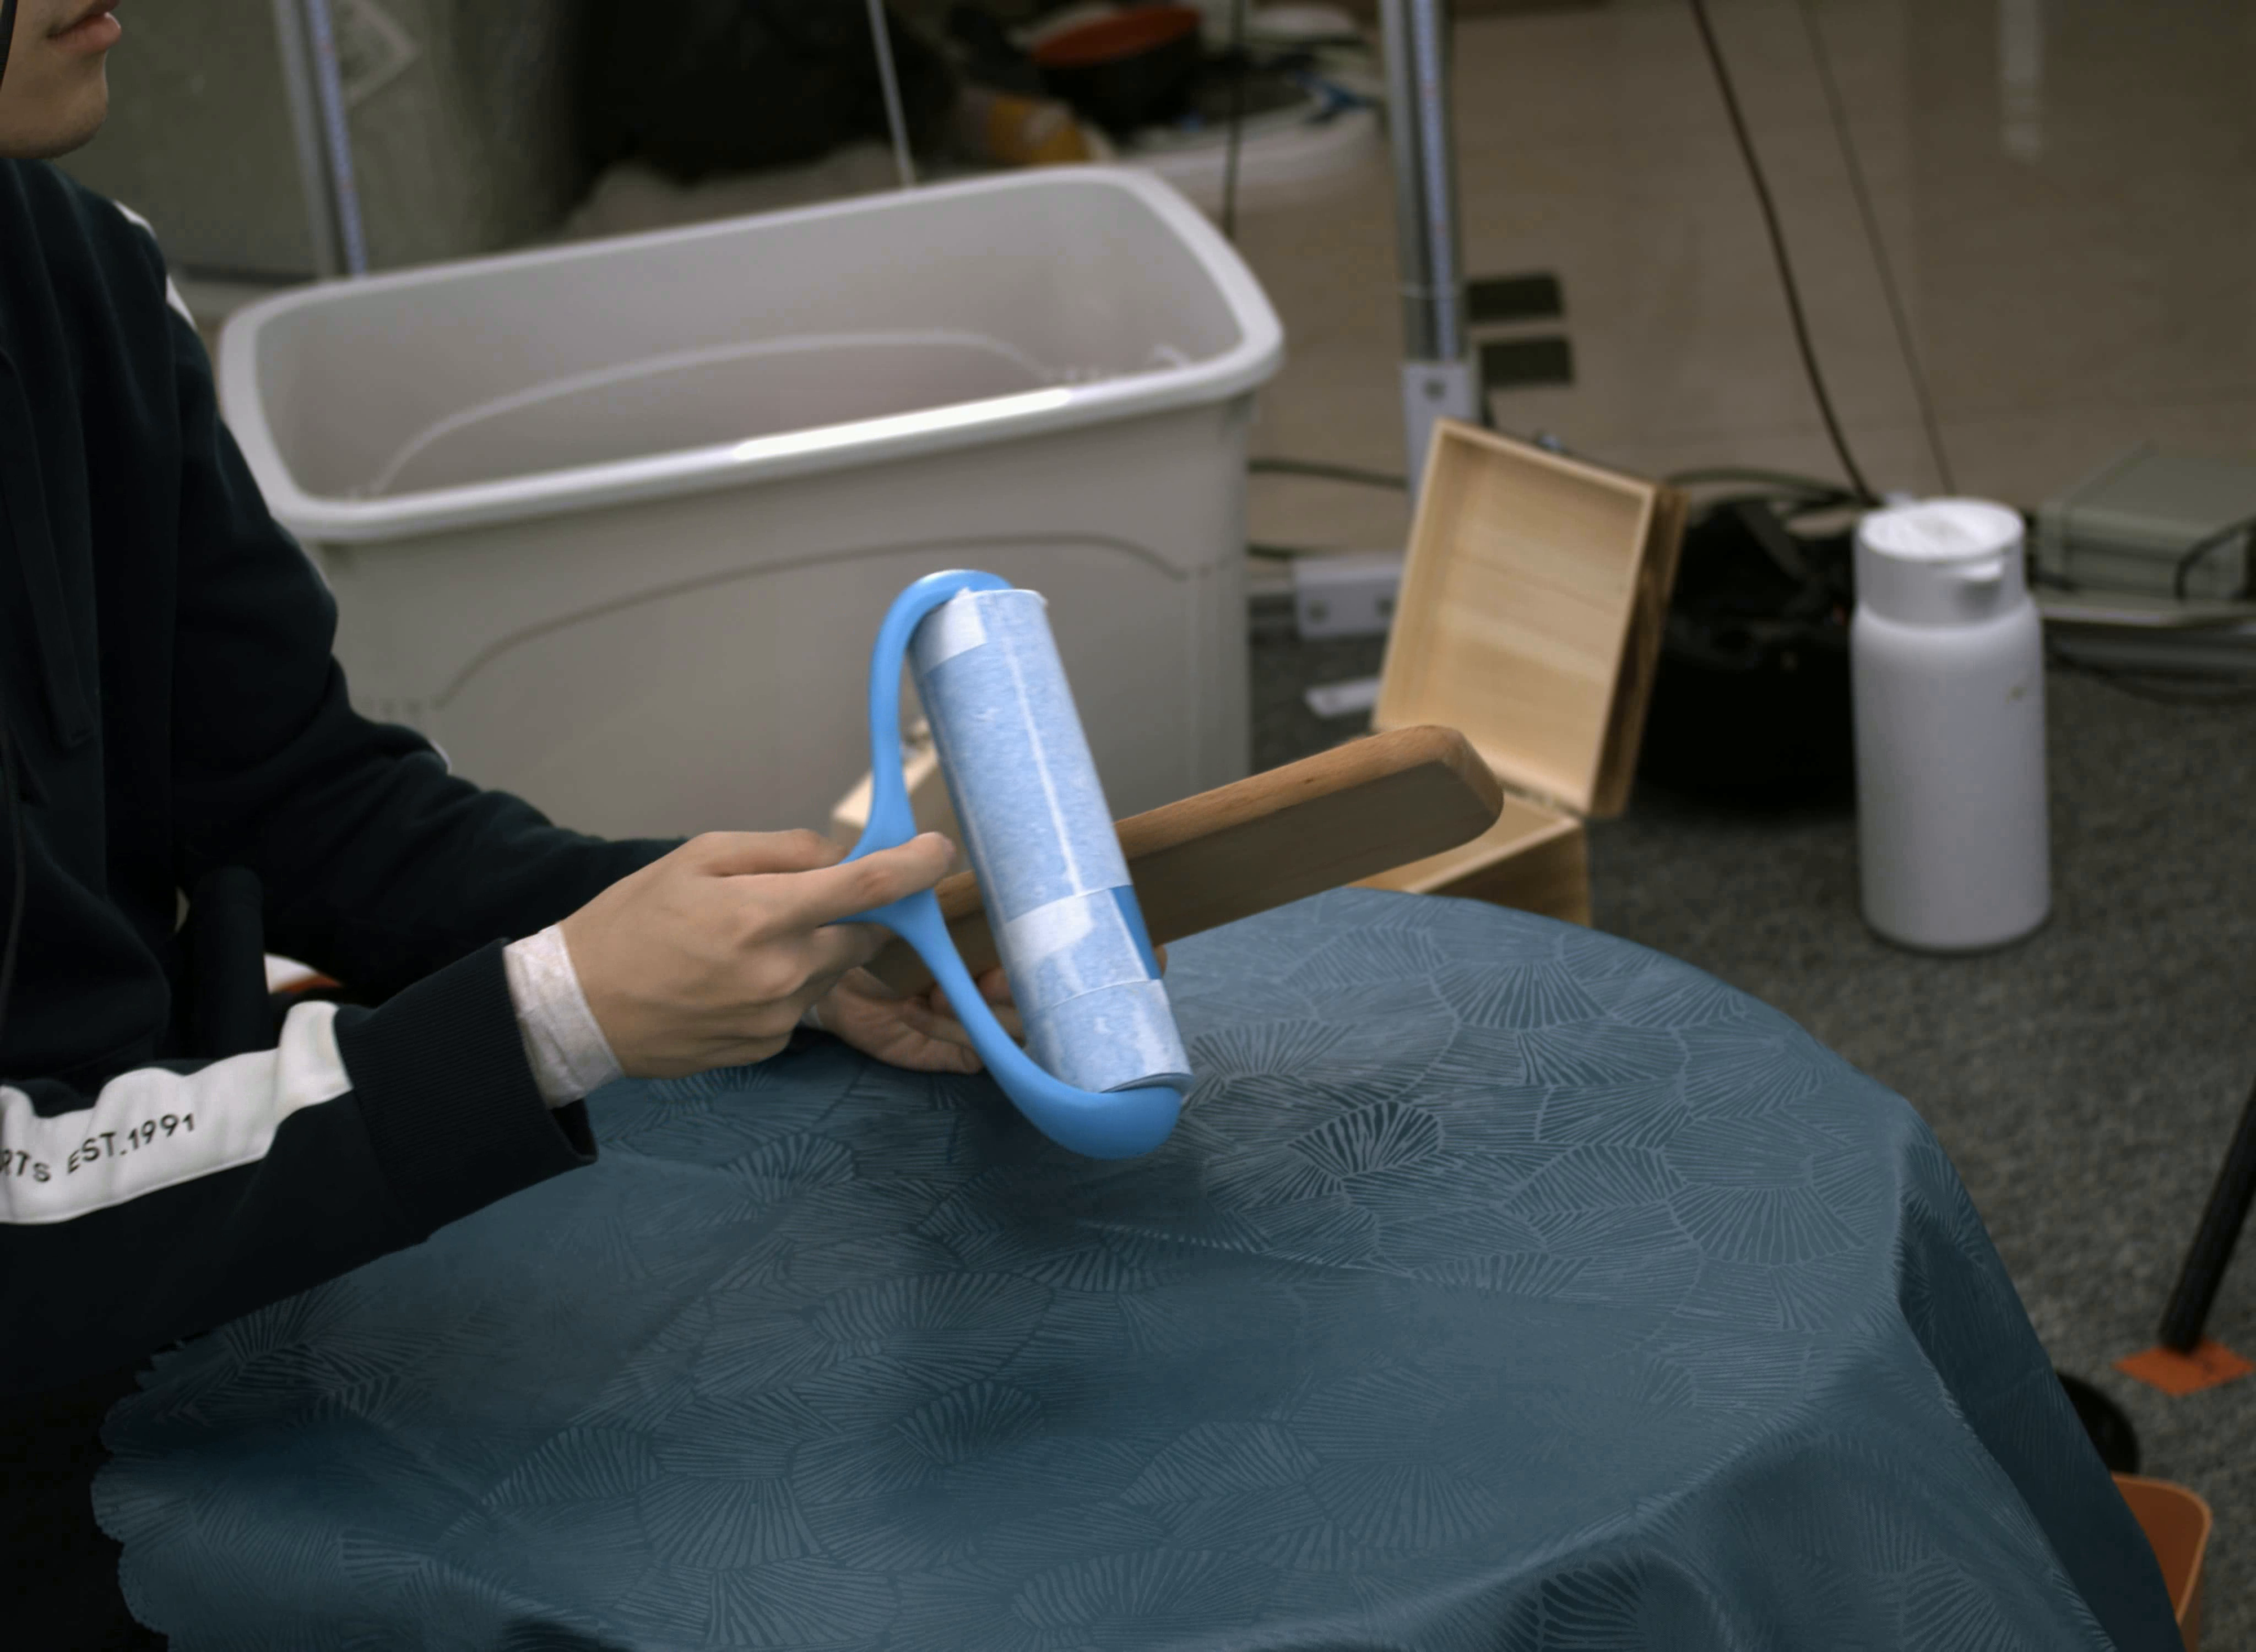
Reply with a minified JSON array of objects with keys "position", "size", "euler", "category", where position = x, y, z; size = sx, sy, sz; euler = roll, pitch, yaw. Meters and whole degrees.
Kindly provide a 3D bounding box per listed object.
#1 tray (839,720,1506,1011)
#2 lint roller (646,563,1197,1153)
[{"position":[0.018,0.017,2.155],"size":[0.251,0.132,0.022],"euler":[-20,69,12],"category":"tray"},{"position":[-0.086,0.029,2.025],"size":[0.180,0.227,0.068],"euler":[-19,-14,-7],"category":"lint roller"}]
